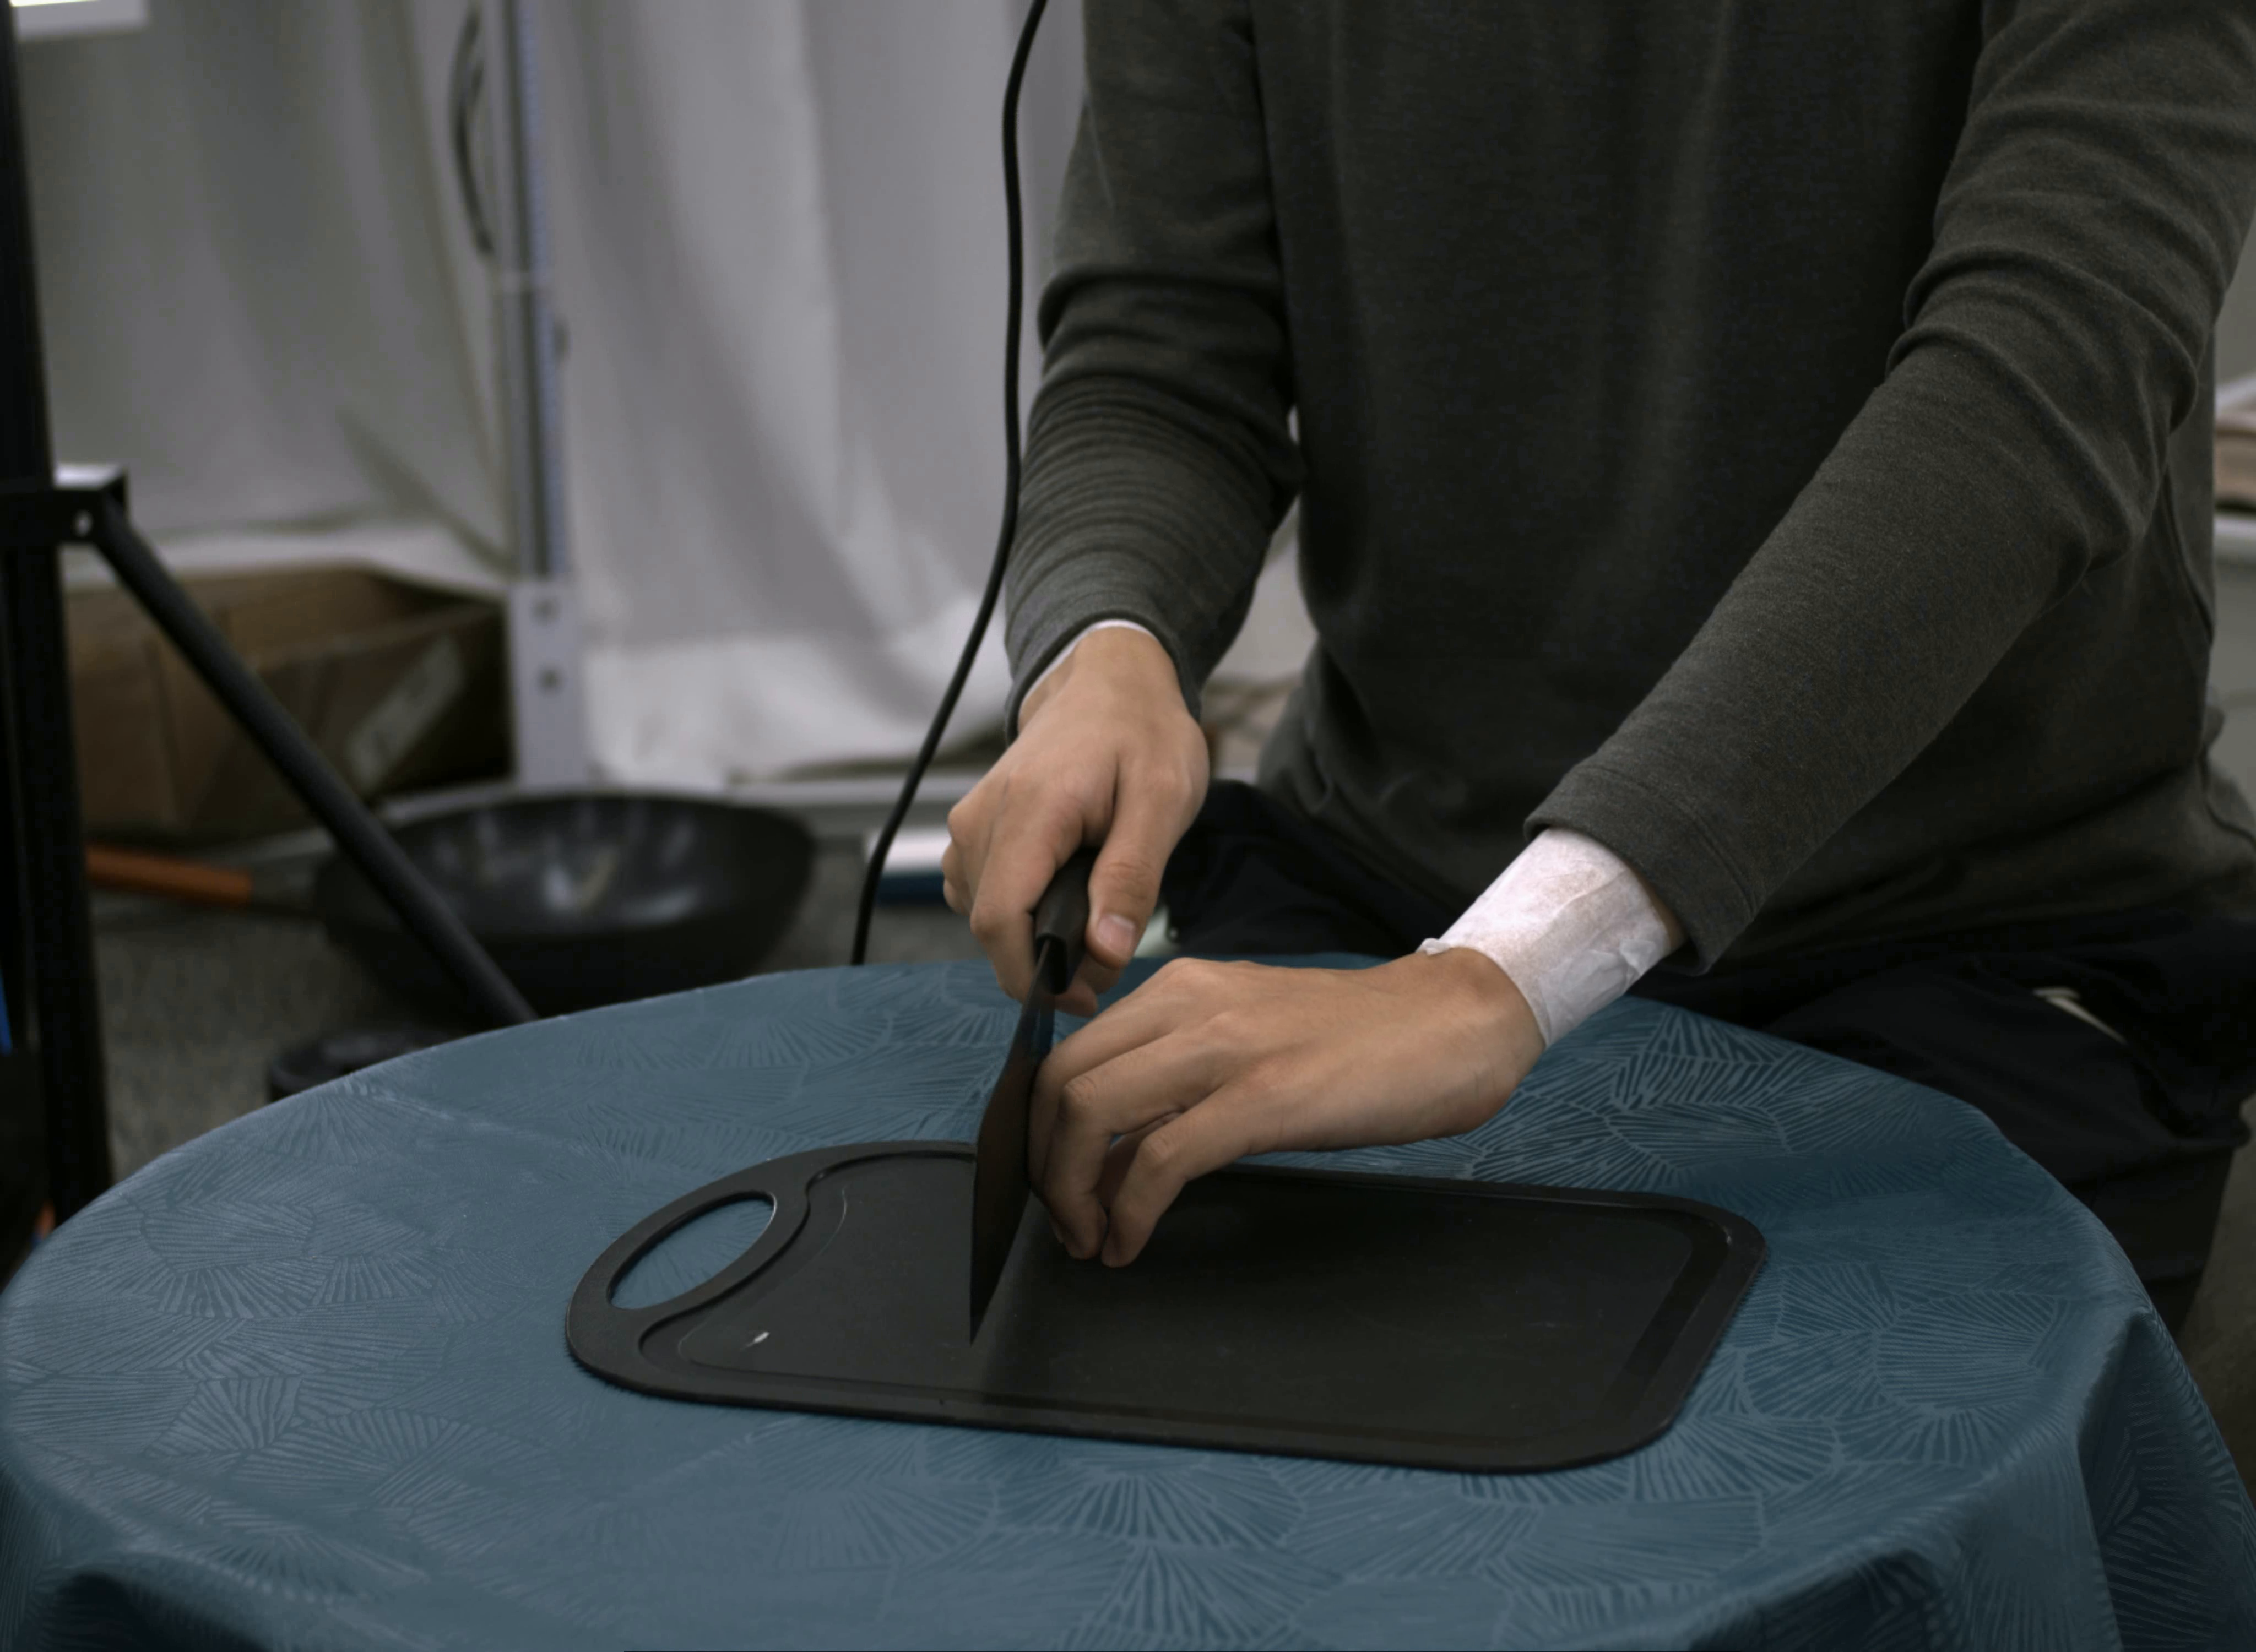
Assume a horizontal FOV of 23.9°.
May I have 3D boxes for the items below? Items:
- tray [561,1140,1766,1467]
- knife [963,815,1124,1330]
[{"bbox_3d":[0.005,0.128,1.477,0.329,0.010,0.208,4,16,20],"label":"tray"},{"bbox_3d":[-0.026,0.062,1.541,0.021,0.081,0.302,5,21,4],"label":"knife"}]
